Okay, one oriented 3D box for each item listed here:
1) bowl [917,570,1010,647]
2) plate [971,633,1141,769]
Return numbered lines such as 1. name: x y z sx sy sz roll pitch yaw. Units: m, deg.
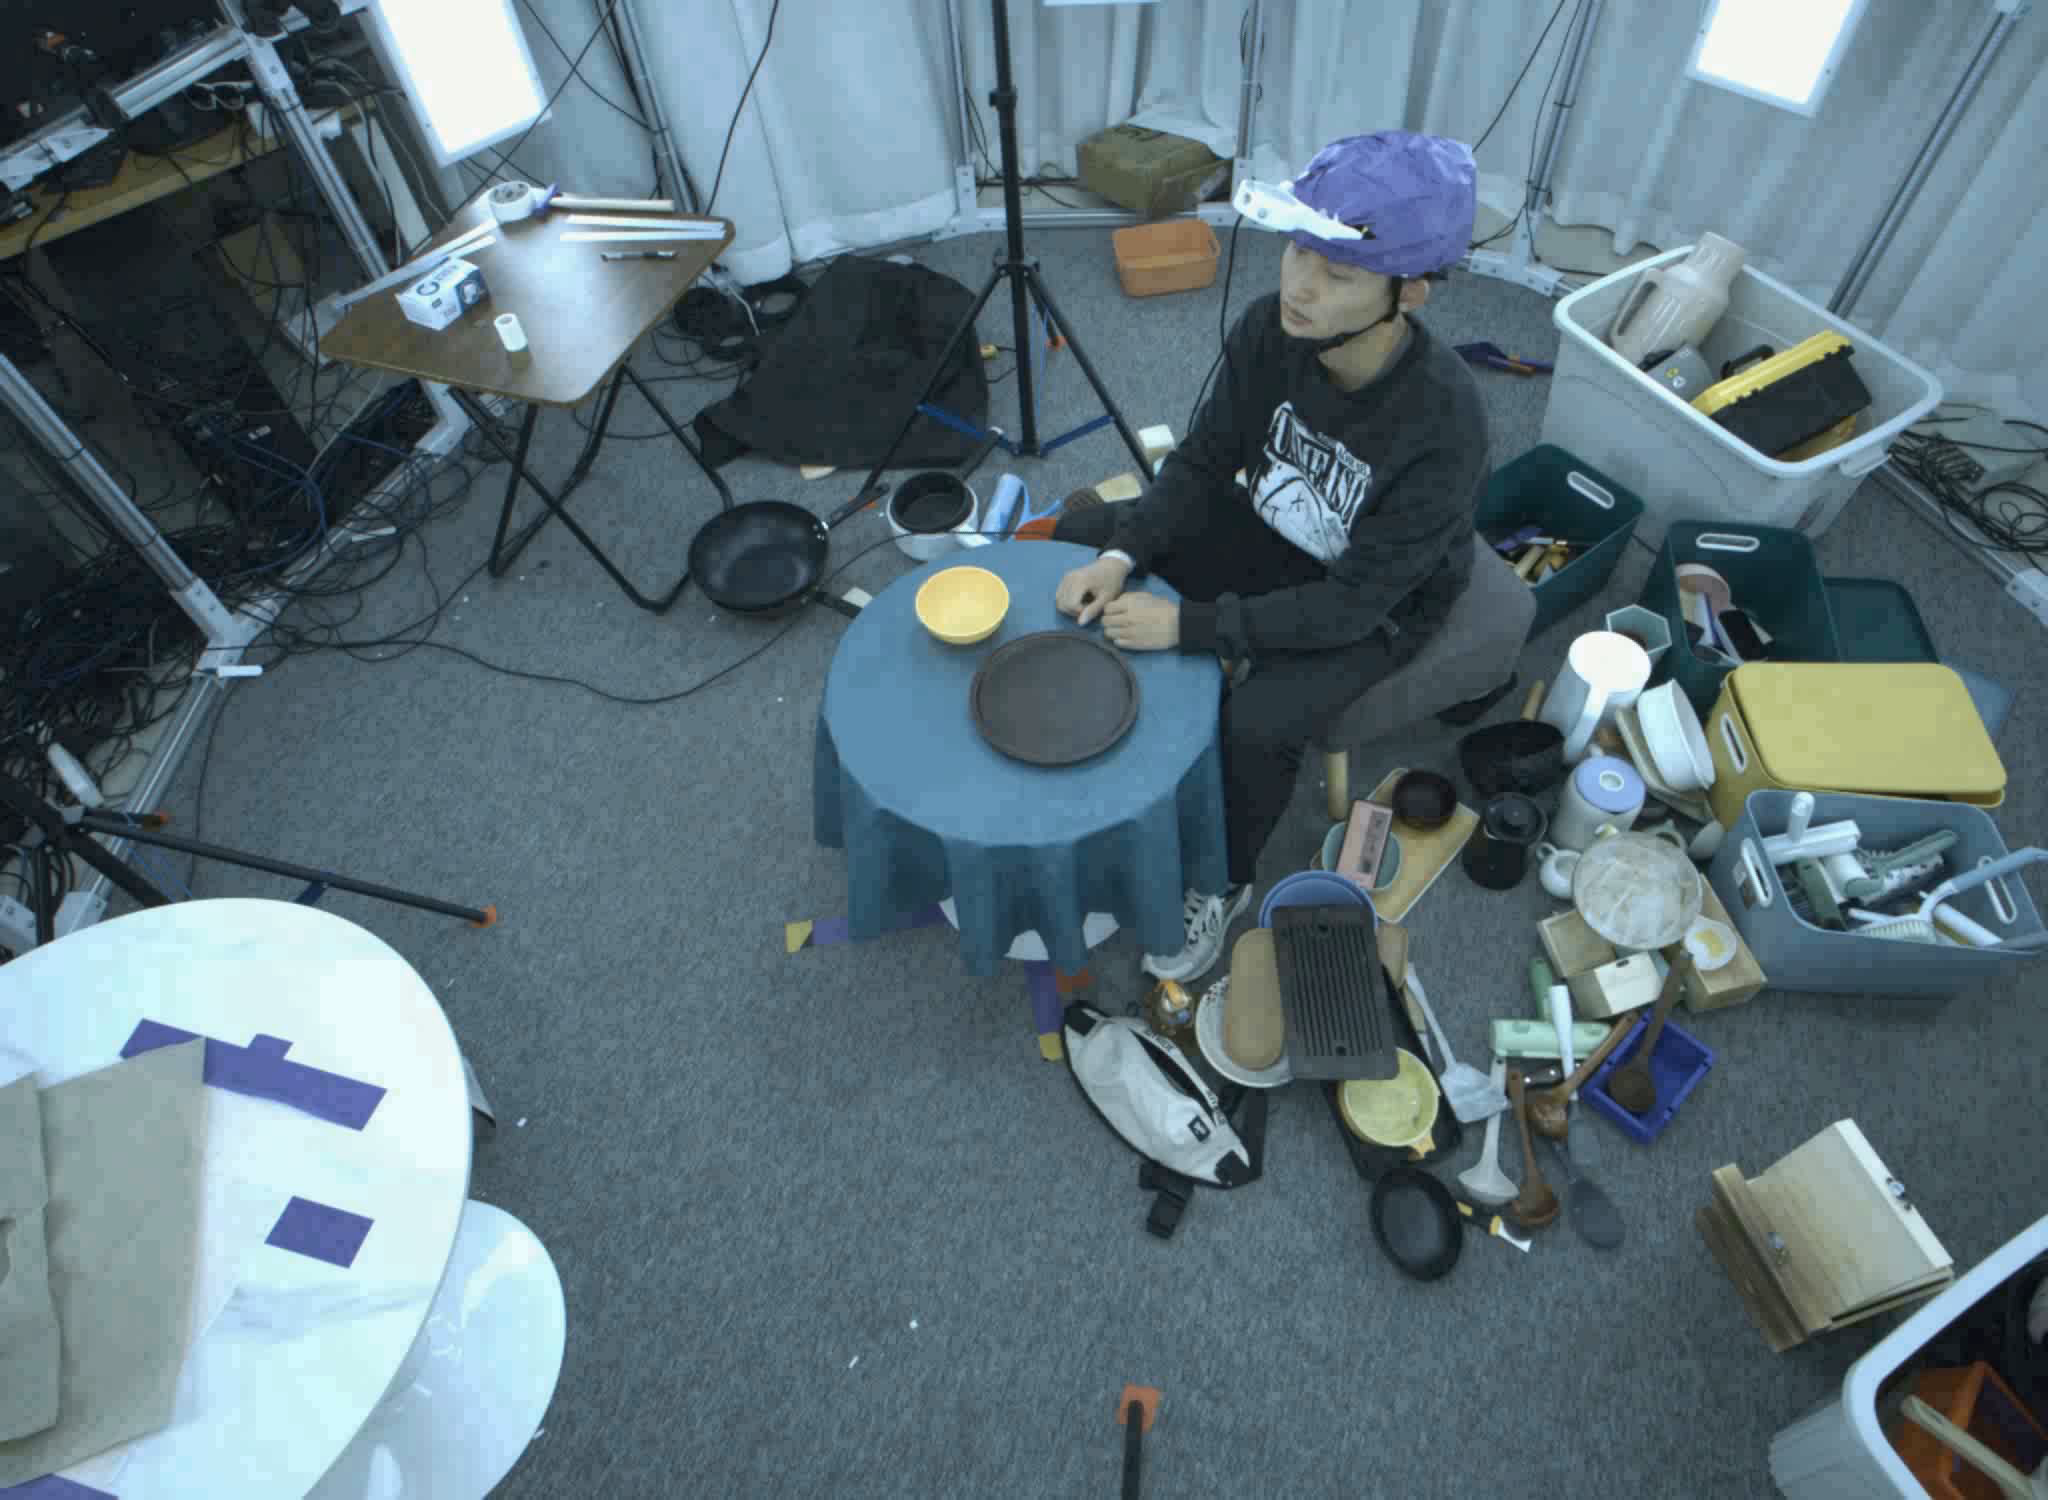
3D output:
1. bowl: -0.094 -0.209 1.914 0.145 0.060 0.144 1 55 -1
2. plate: 0.047 -0.073 1.834 0.254 0.029 0.252 0 53 2
